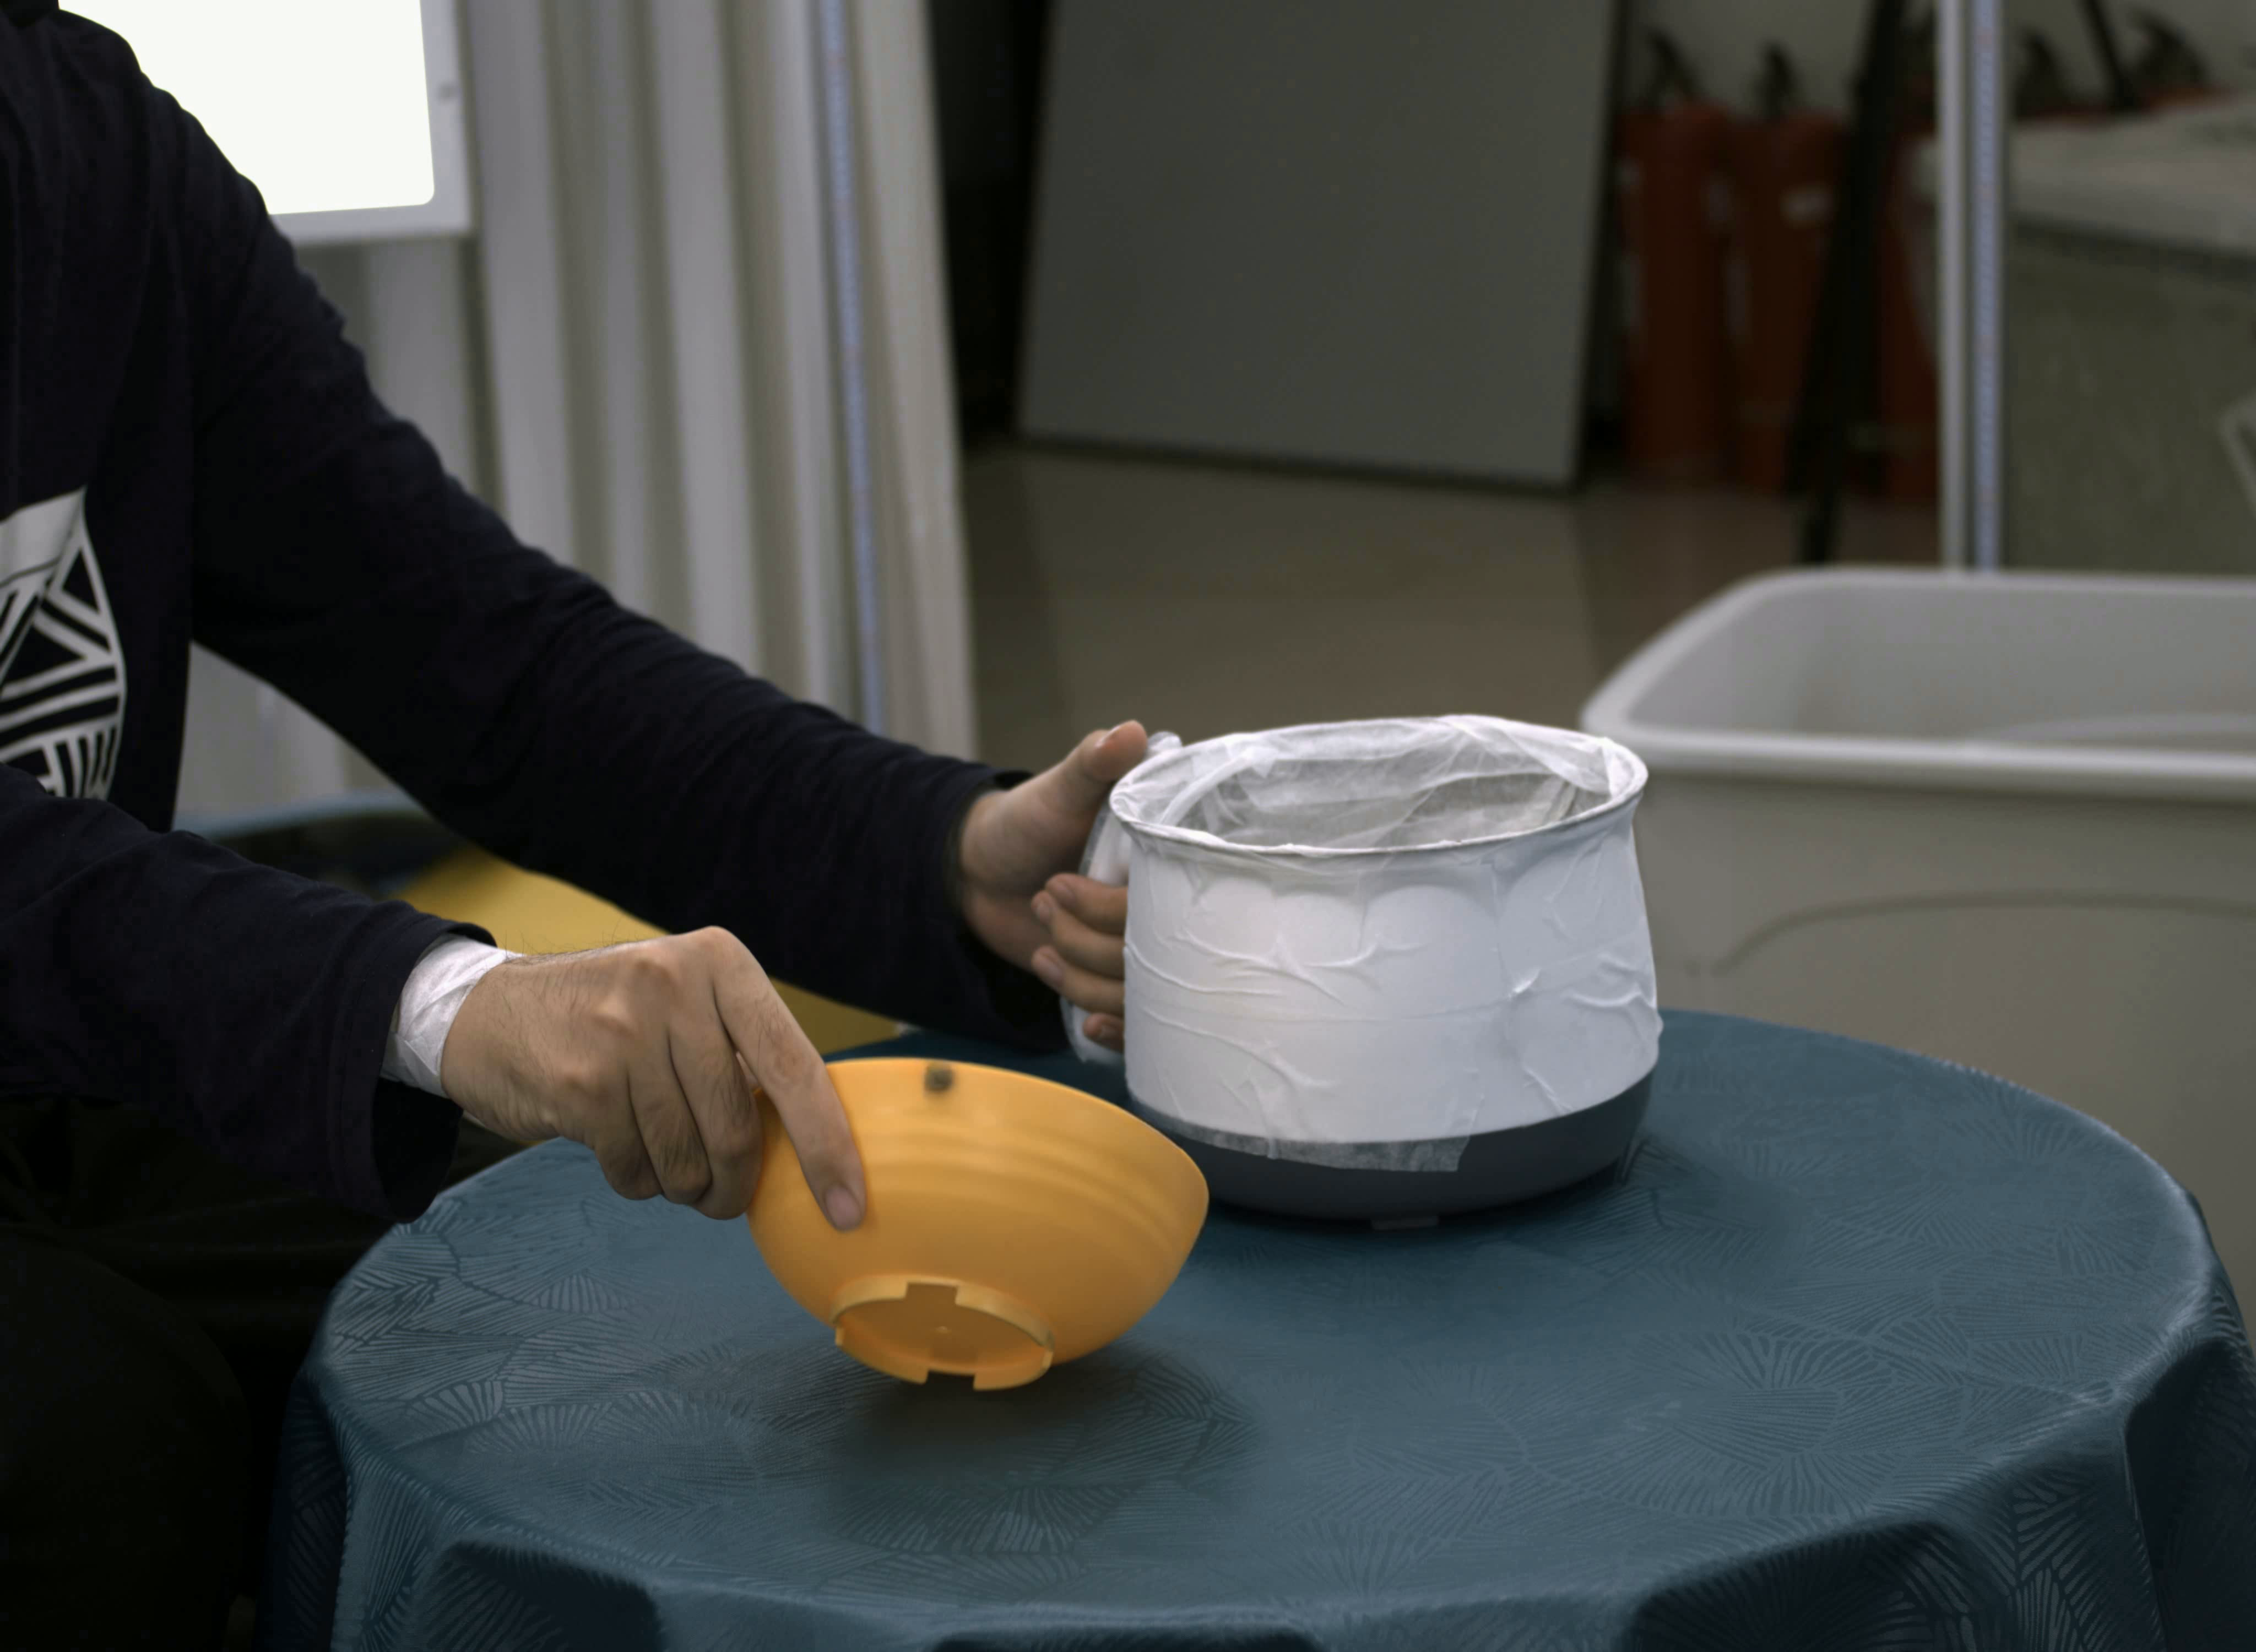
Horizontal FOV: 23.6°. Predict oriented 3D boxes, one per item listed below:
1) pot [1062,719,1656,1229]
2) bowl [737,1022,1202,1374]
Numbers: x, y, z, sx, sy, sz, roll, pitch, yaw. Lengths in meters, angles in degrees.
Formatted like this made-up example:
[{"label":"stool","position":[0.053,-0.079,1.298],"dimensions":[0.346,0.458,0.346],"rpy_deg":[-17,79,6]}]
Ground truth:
[{"label":"pot","position":[0.066,0.042,1.785],"dimensions":[0.236,0.138,0.175],"rpy_deg":[10,16,44]},{"label":"bowl","position":[-0.053,0.119,1.576],"dimensions":[0.144,0.060,0.145],"rpy_deg":[13,-28,6]}]
